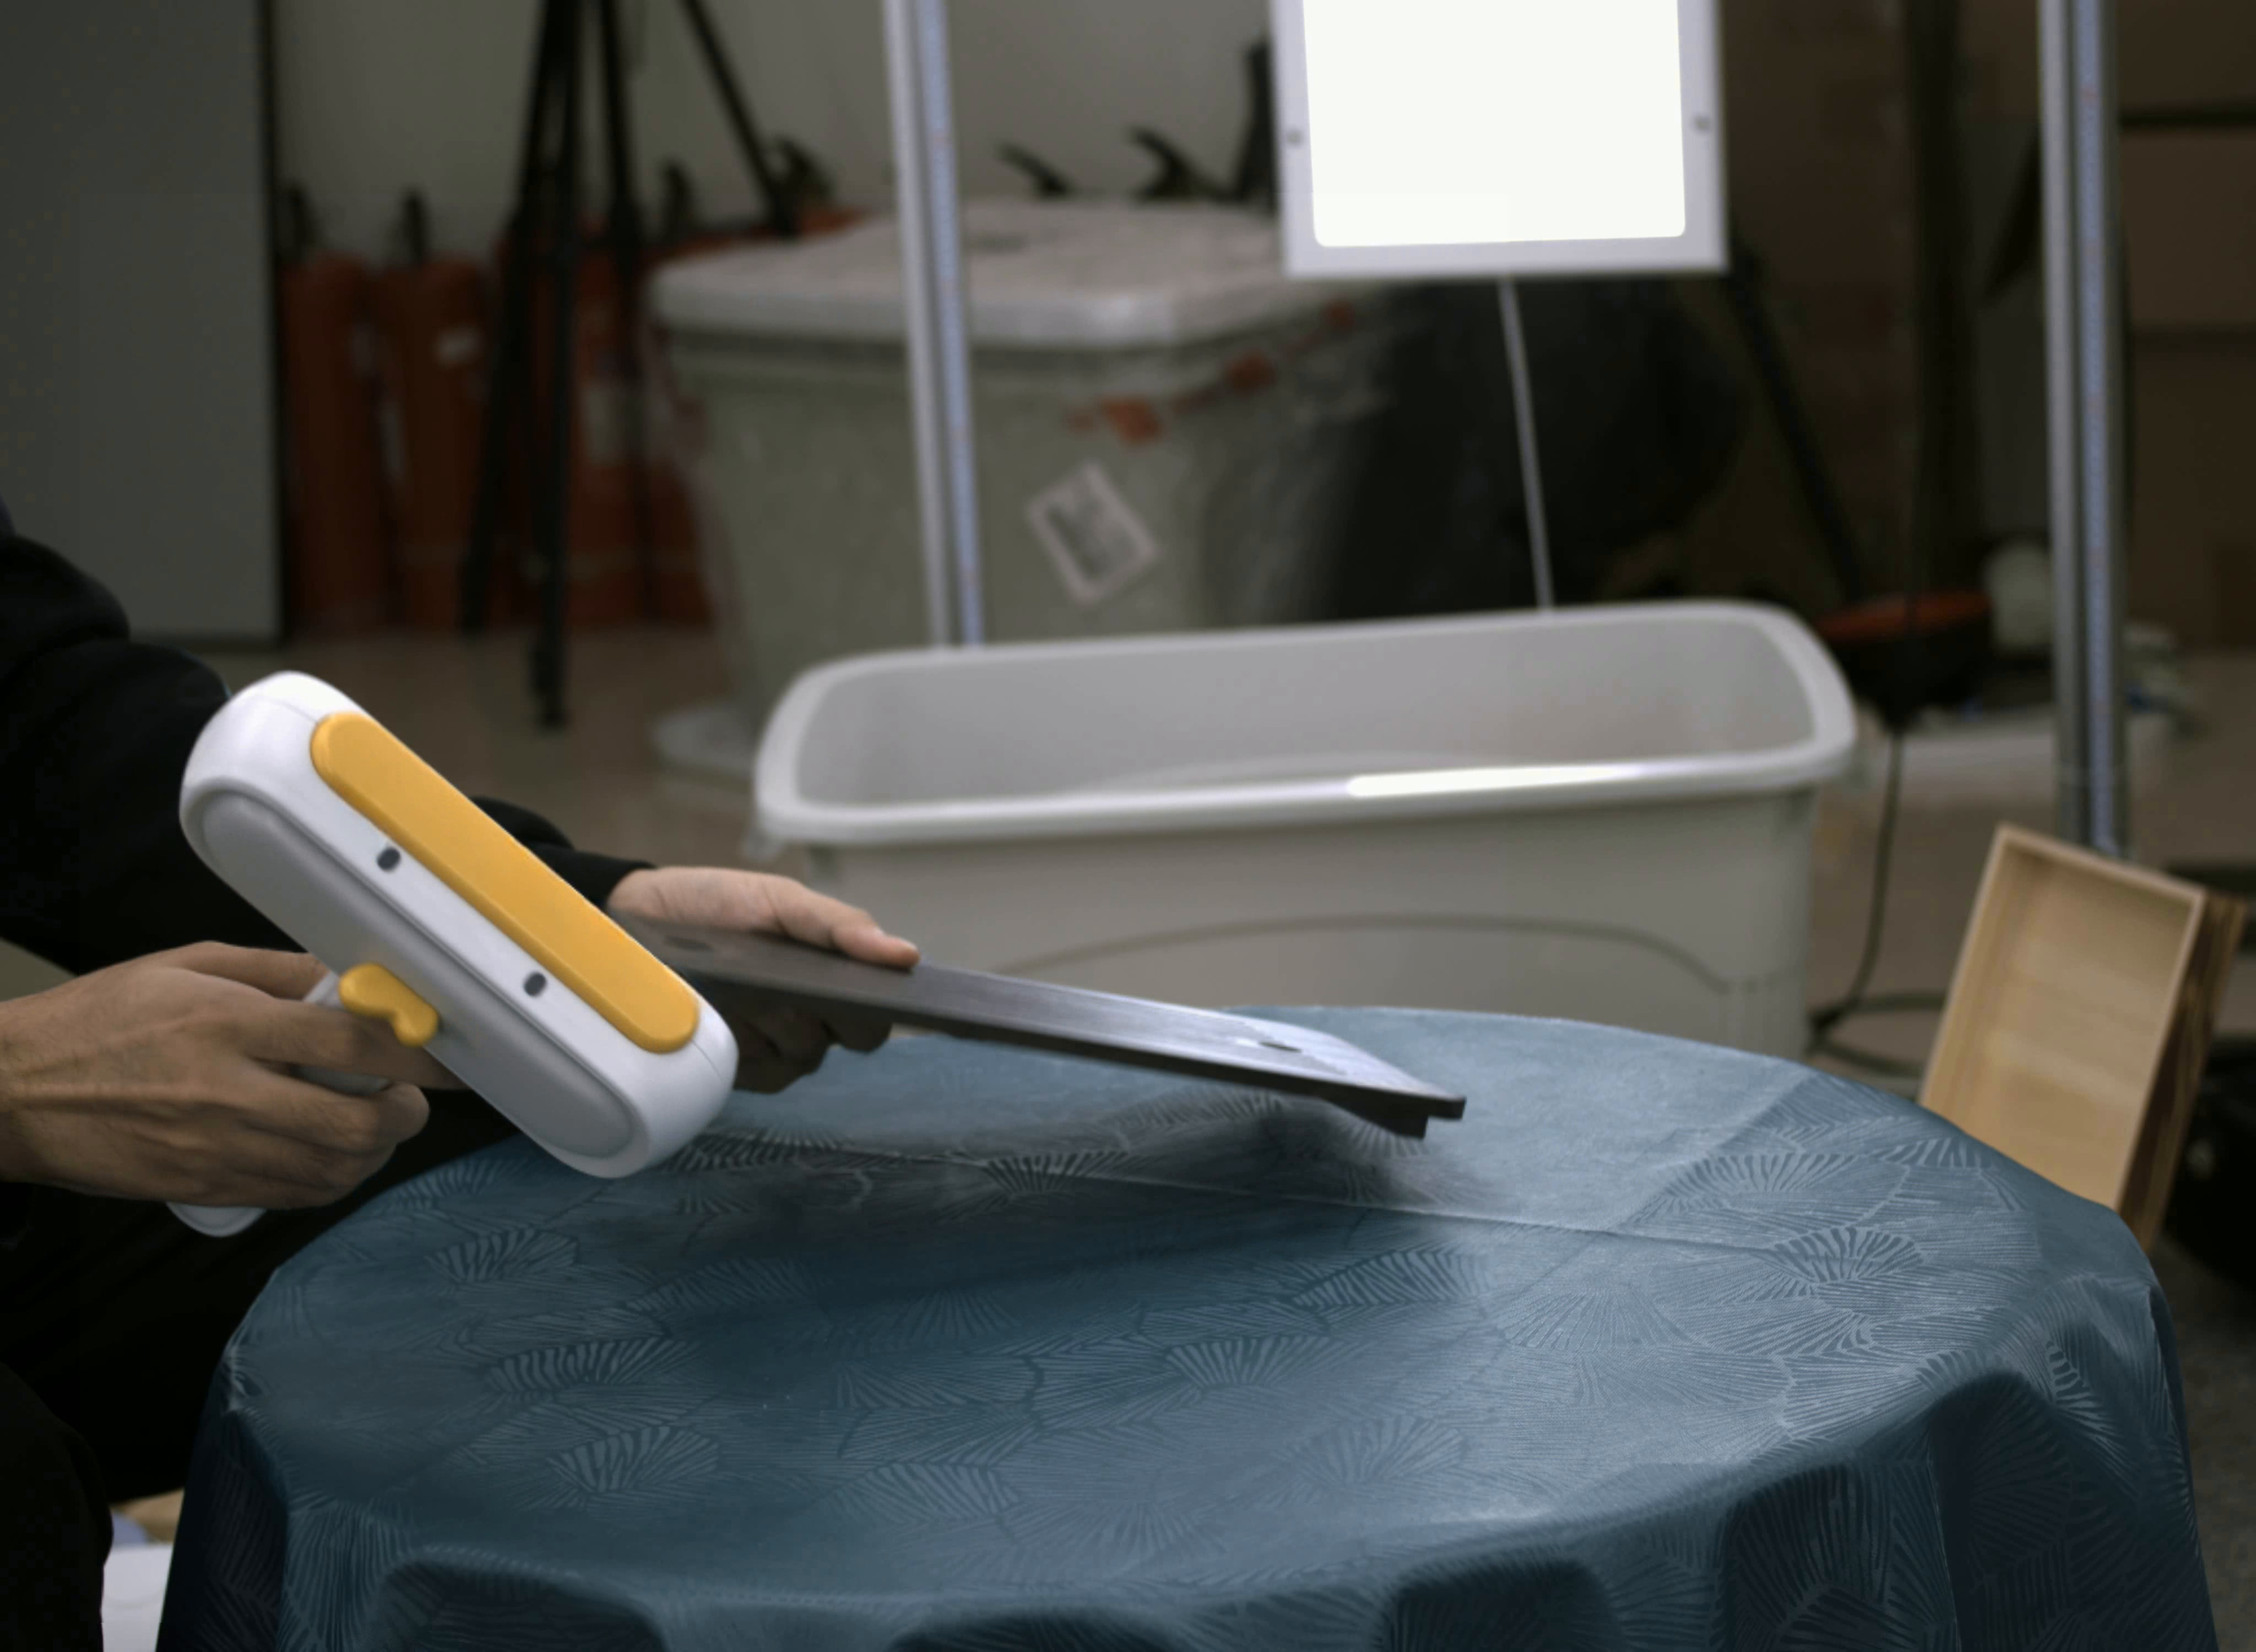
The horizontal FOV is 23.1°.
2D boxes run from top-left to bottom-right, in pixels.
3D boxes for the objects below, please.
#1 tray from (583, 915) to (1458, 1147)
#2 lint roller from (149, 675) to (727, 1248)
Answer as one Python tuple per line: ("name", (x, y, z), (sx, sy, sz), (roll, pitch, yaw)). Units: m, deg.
("tray", (-0.051, 0.069, 1.885), (0.302, 0.019, 0.172), (9, 5, -15))
("lint roller", (-0.238, 0.063, 1.704), (0.196, 0.191, 0.073), (-46, 13, 46))
